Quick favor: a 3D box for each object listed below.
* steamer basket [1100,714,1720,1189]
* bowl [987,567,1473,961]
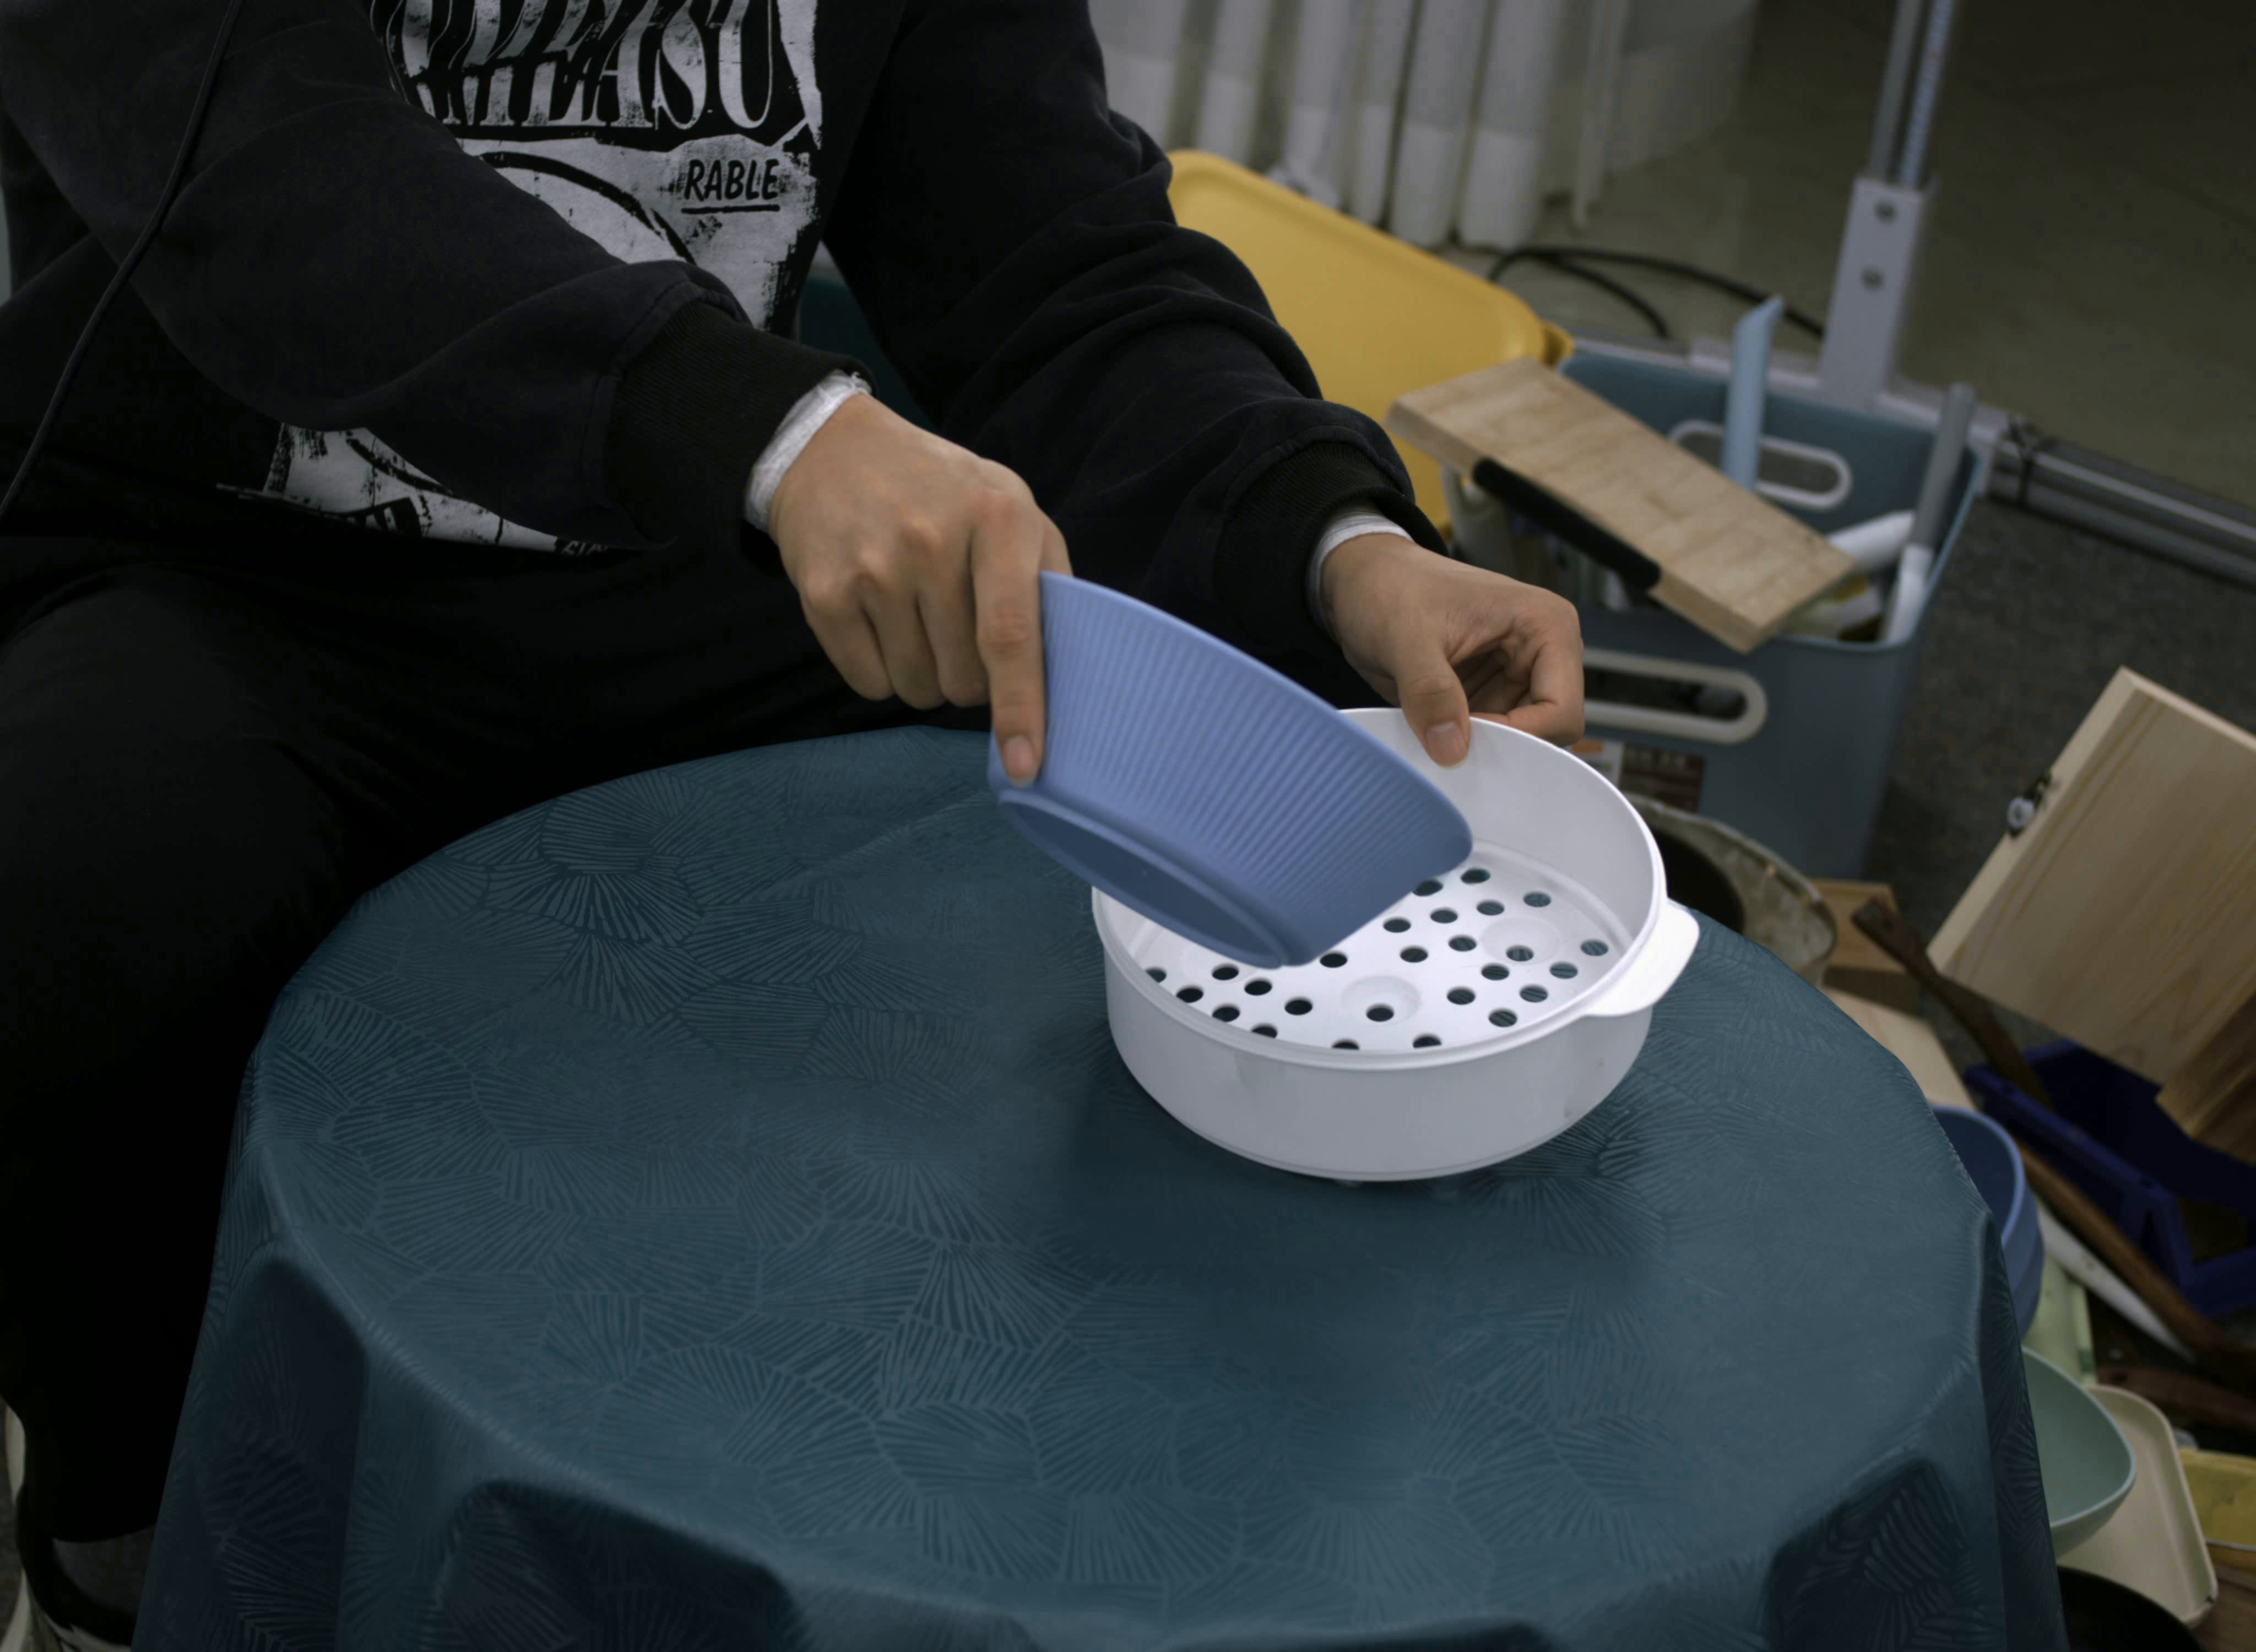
[{"bbox_3d":[0.093,0.044,1.869,0.231,0.069,0.202,16,41,22],"label":"steamer basket"},{"bbox_3d":[0.020,-0.012,1.734,0.176,0.070,0.175,29,-10,5],"label":"bowl"}]
